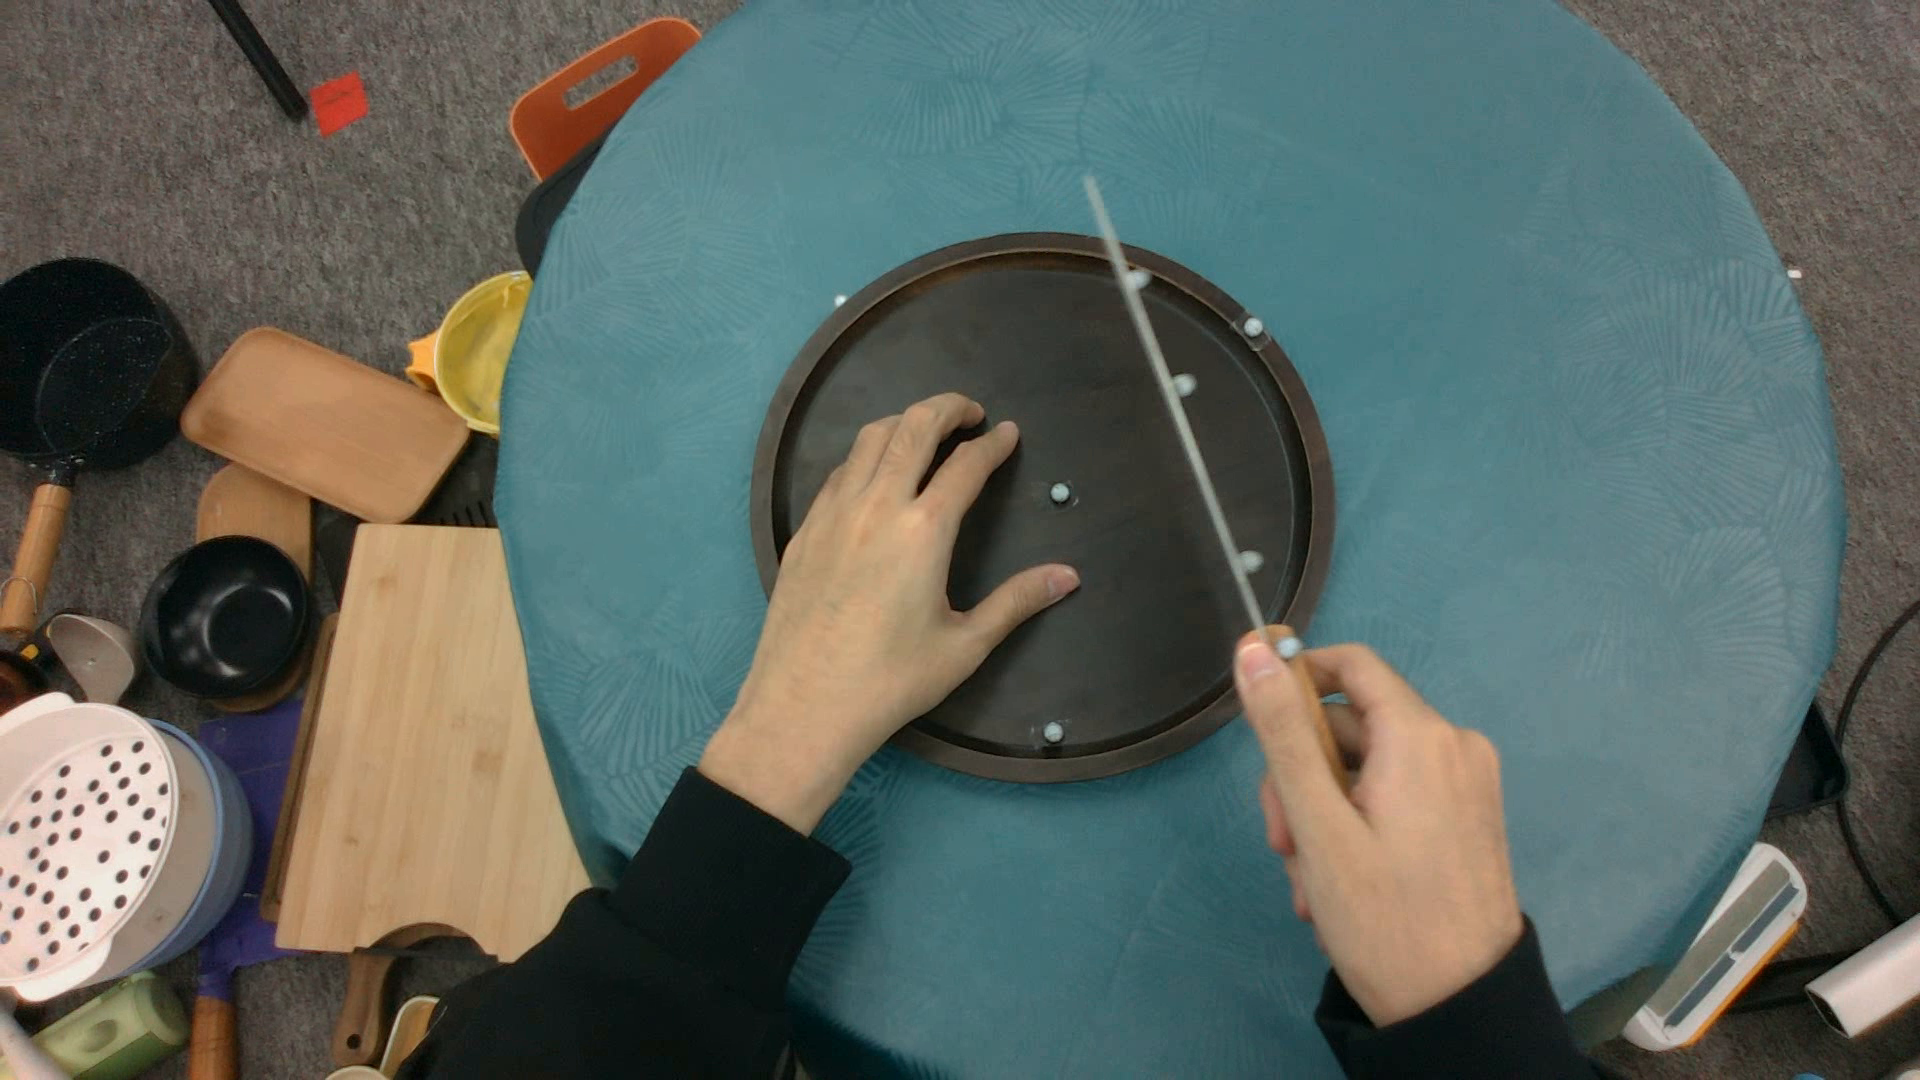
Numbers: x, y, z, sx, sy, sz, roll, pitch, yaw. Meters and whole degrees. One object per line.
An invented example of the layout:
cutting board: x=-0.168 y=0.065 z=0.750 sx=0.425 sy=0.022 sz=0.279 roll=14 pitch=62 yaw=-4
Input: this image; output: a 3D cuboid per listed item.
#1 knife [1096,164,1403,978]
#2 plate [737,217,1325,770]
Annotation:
knife: x=0.102 y=0.005 z=0.515 sx=0.021 sy=0.093 sz=0.306 roll=-19 pitch=75 yaw=10
plate: x=0.030 y=-0.026 z=0.600 sx=0.255 sy=0.029 sz=0.255 roll=0 pitch=71 yaw=0
